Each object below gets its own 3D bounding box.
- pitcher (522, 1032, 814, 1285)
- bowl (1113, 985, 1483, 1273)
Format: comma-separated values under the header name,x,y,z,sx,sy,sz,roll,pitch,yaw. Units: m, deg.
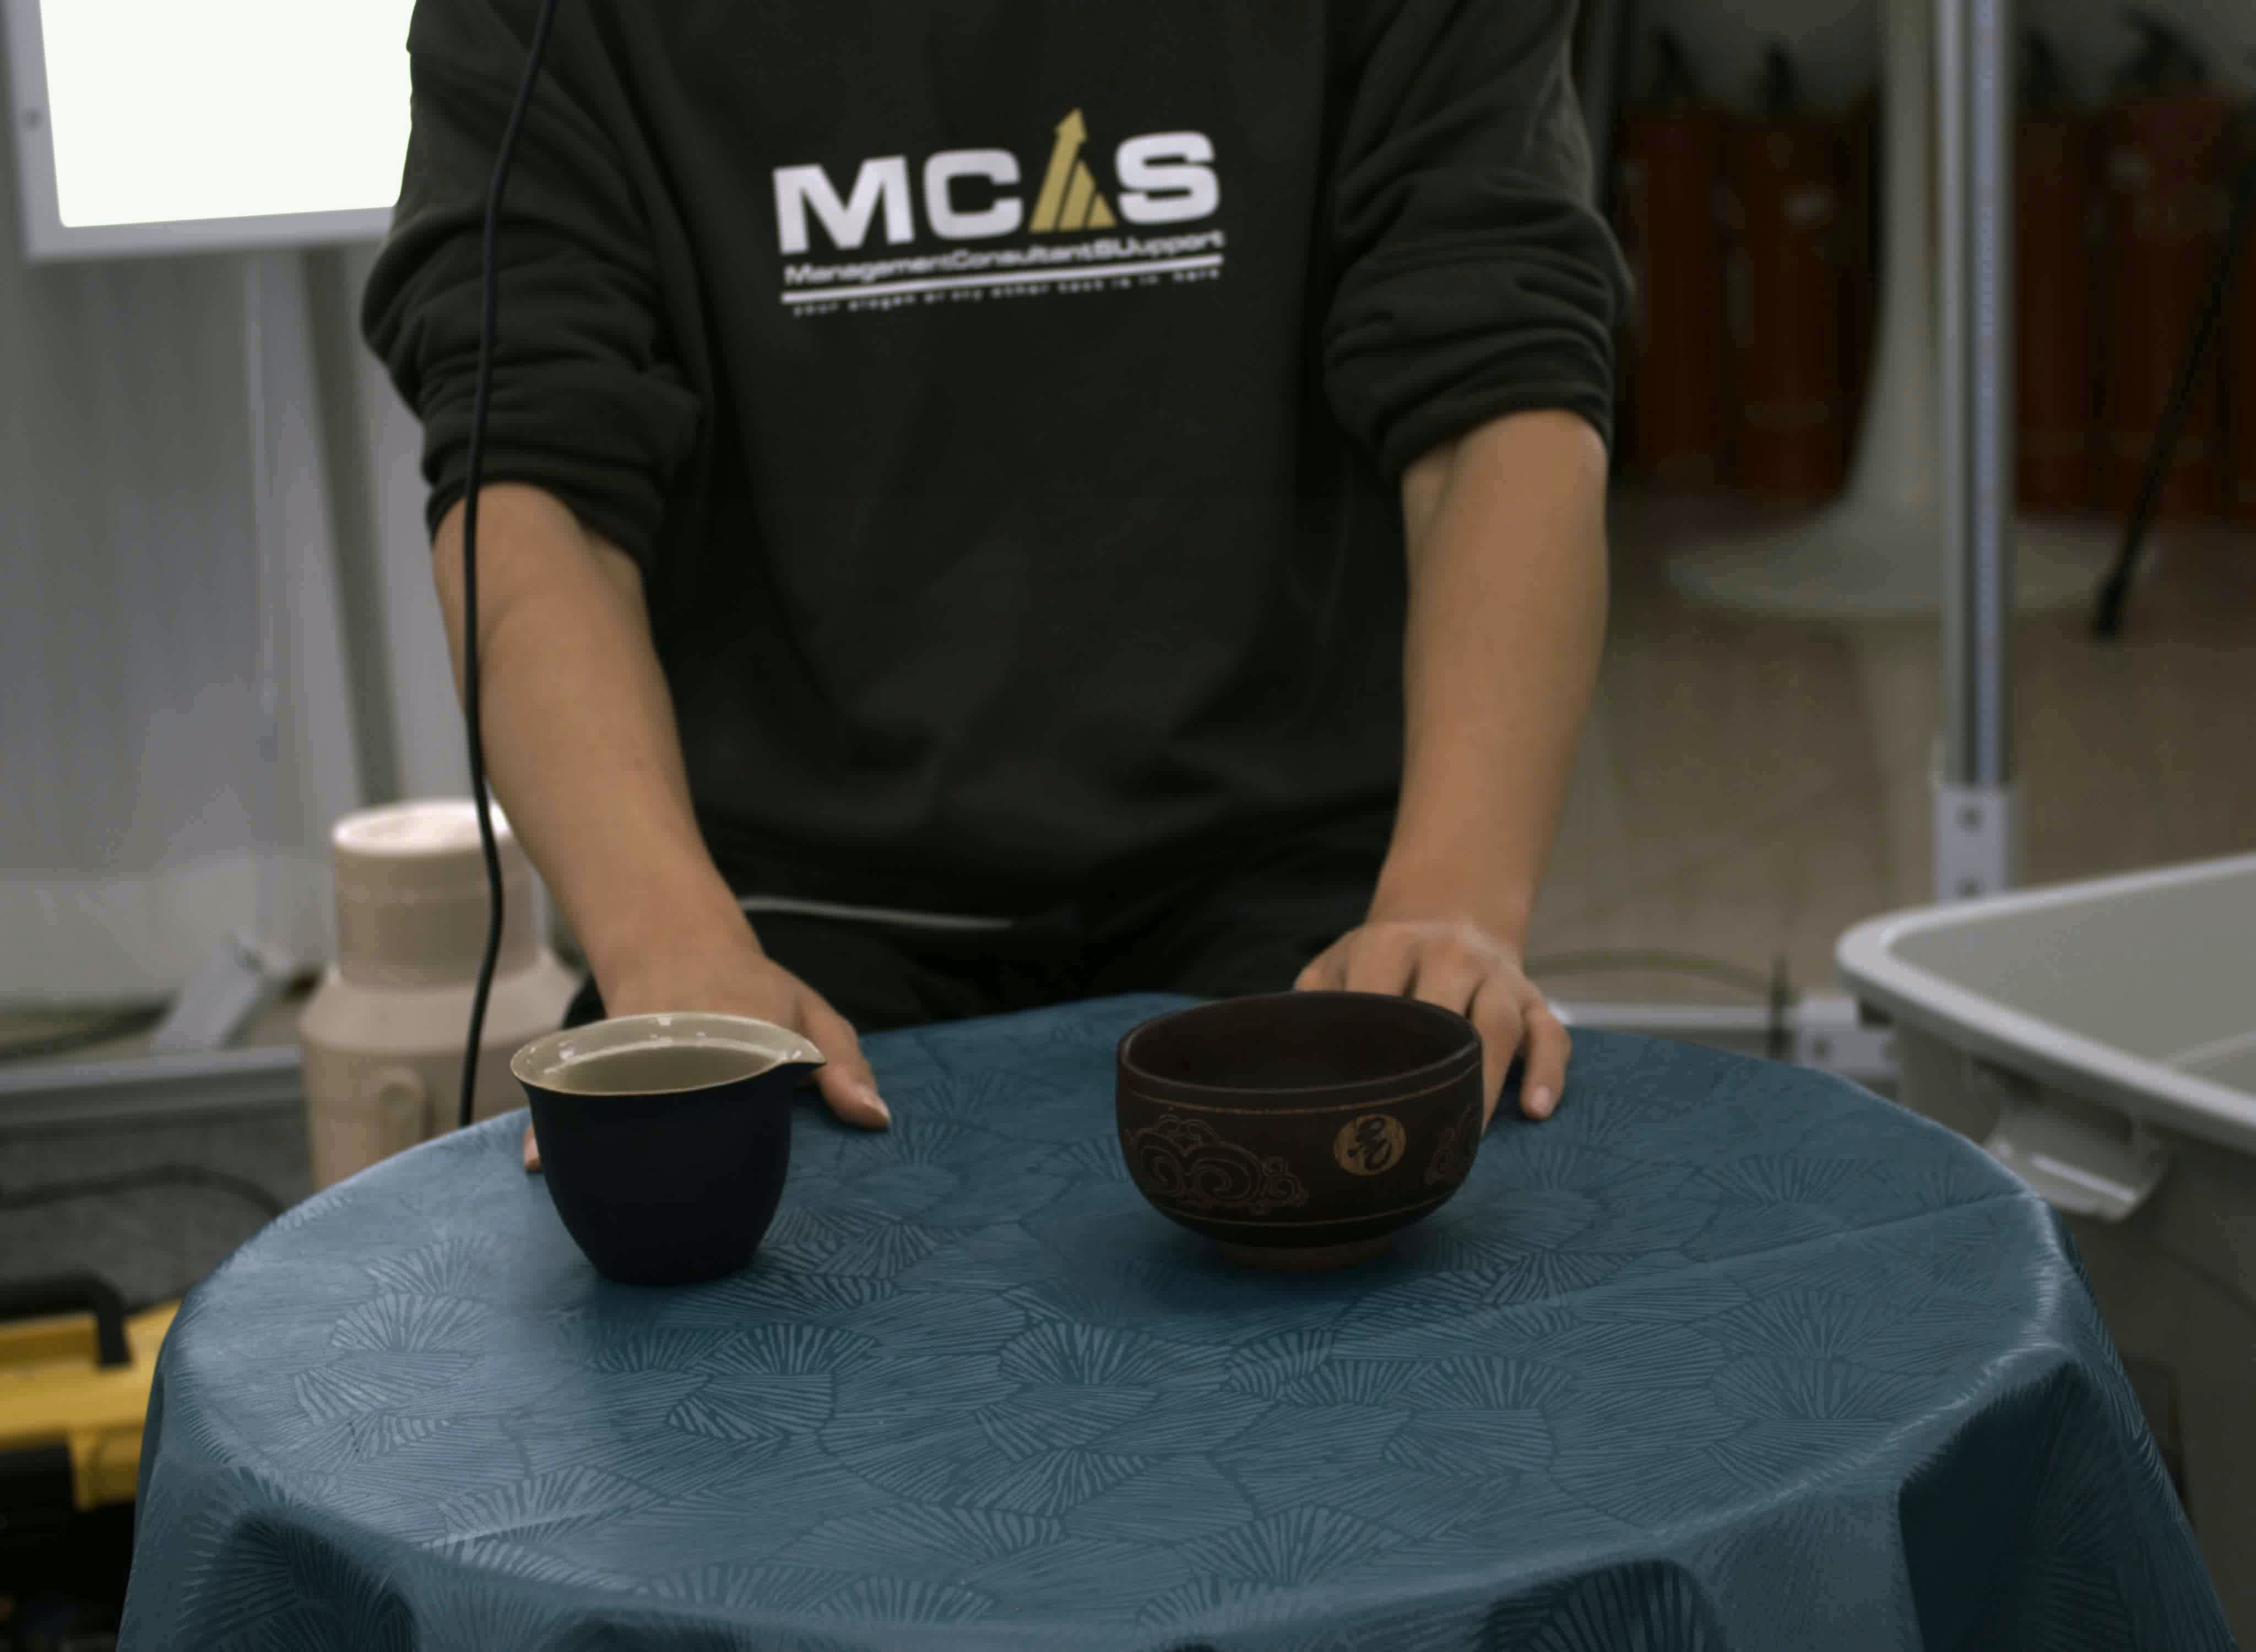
name,x,y,z,sx,sy,sz,roll,pitch,yaw
pitcher,-0.143,0.105,1.724,0.095,0.072,0.083,0,12,16
bowl,0.055,0.099,1.701,0.116,0.070,0.118,-4,14,0
